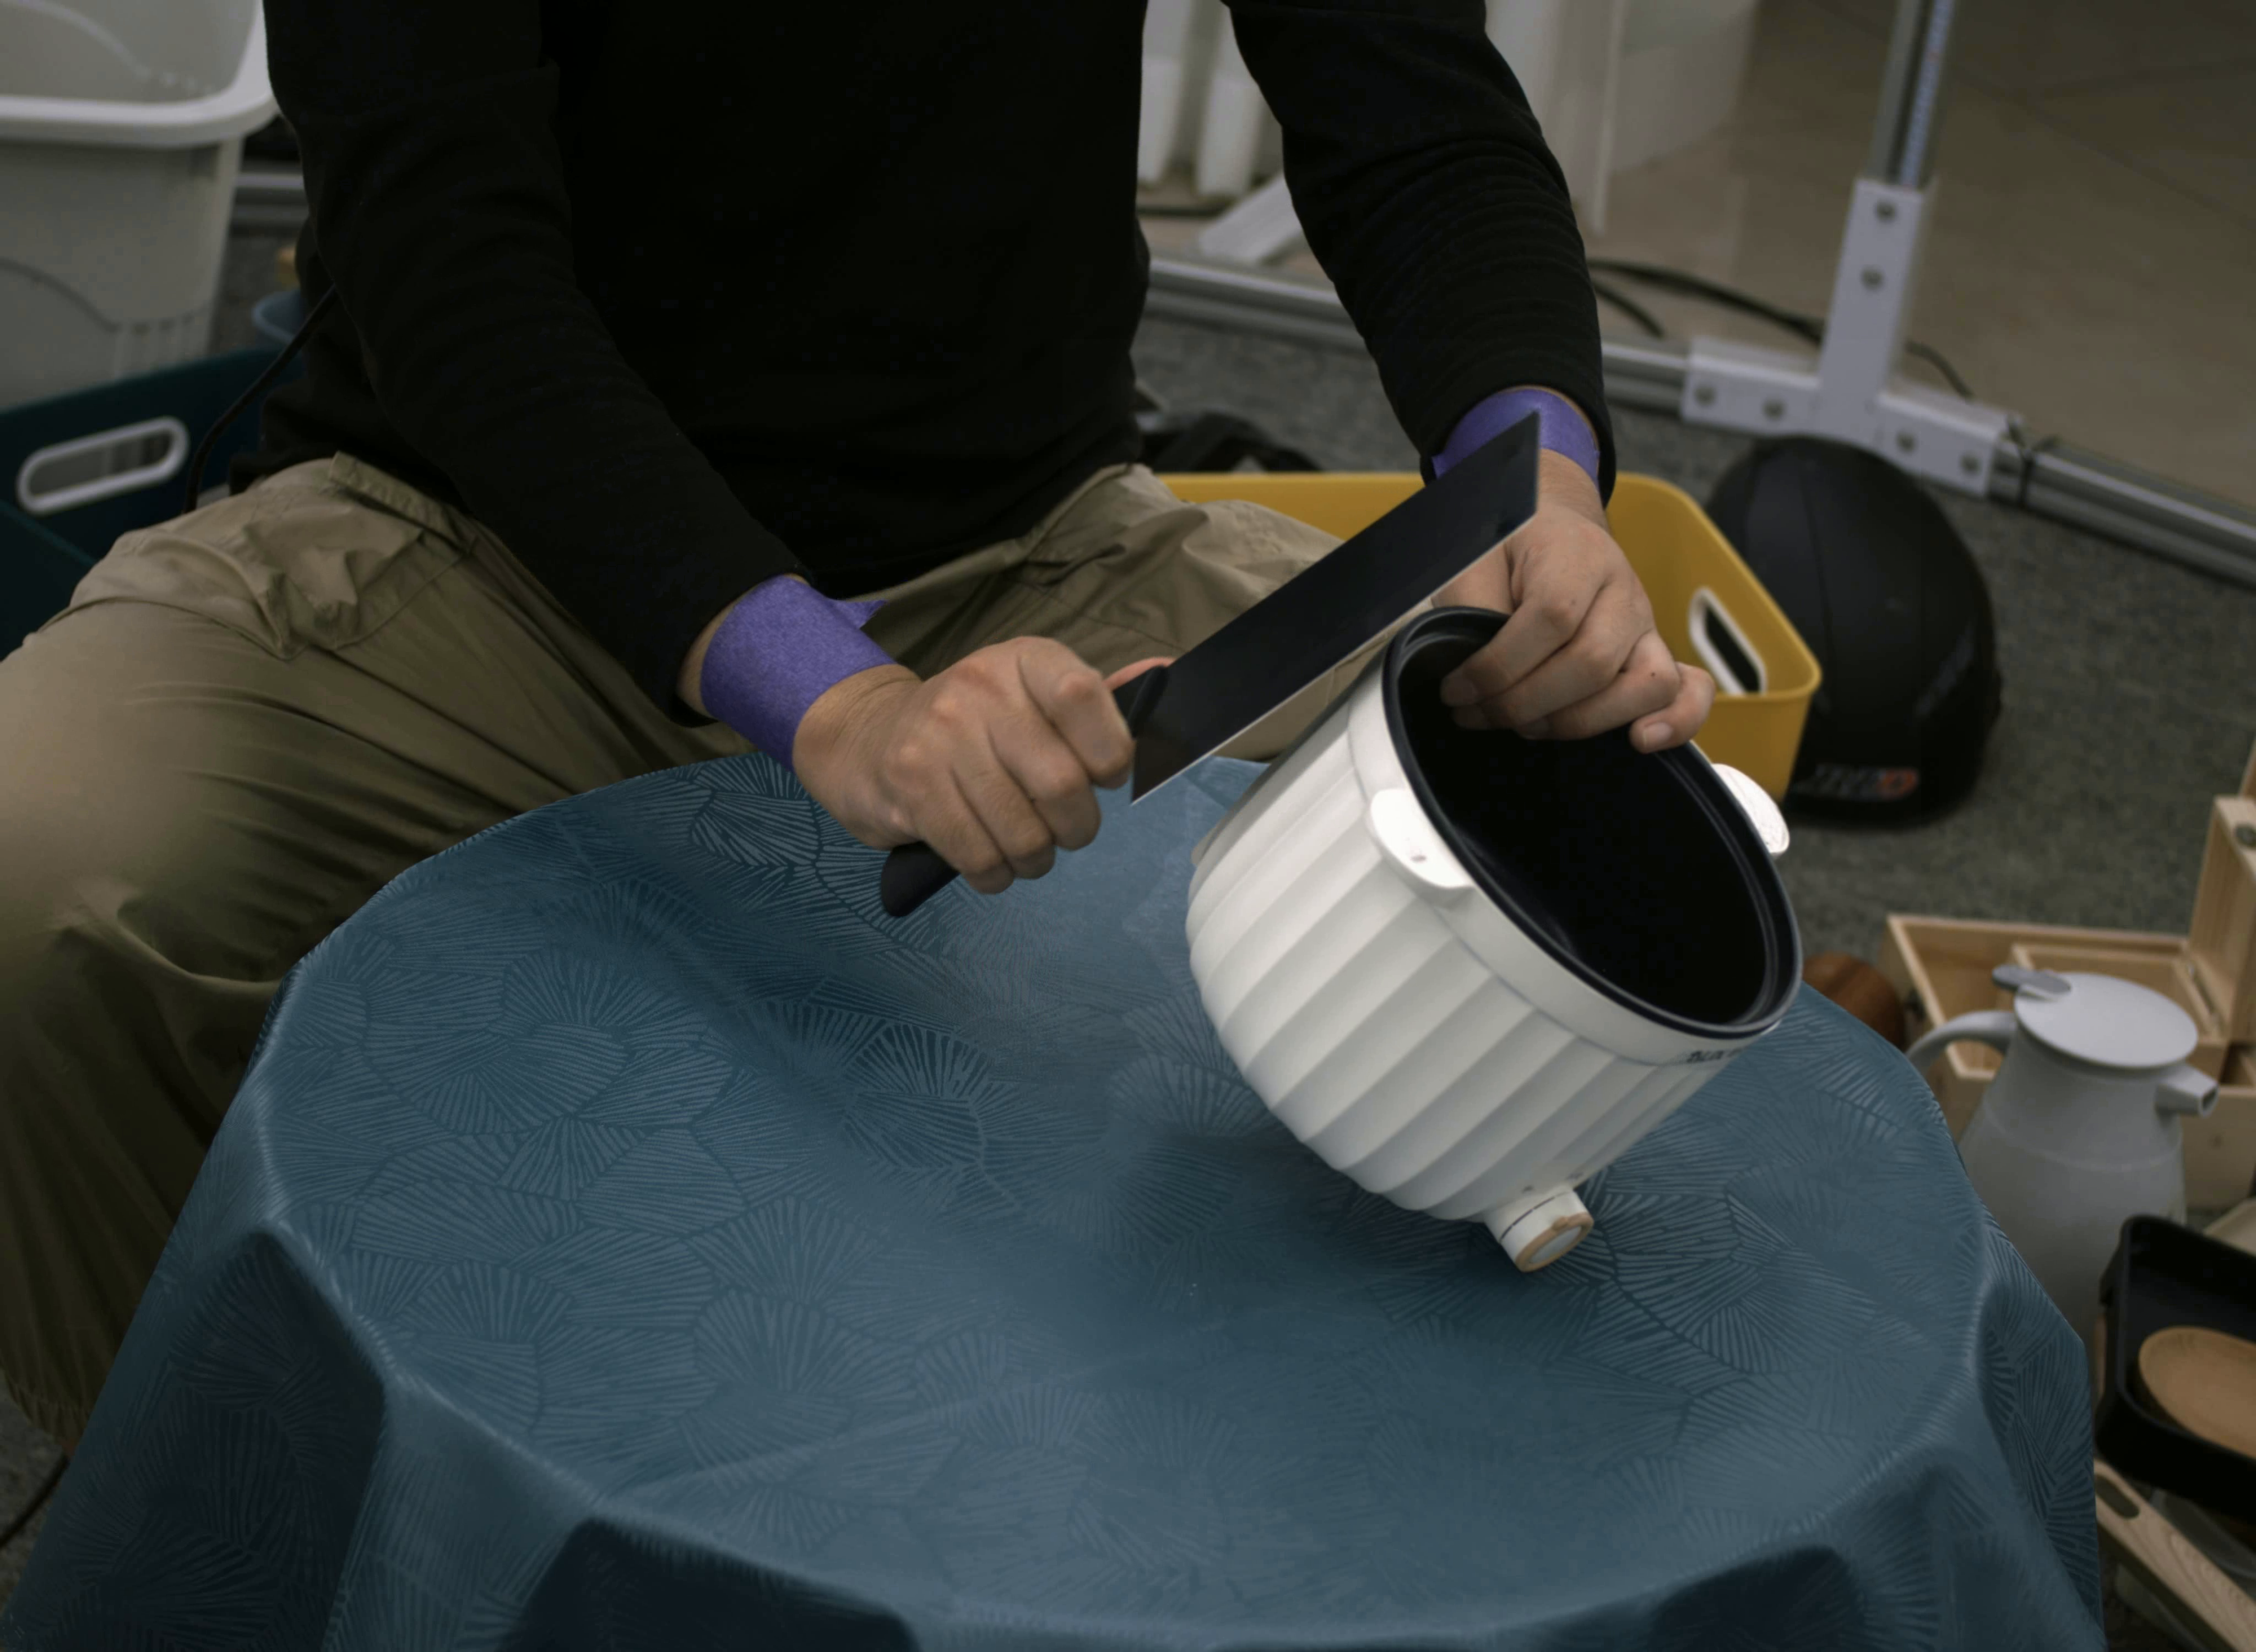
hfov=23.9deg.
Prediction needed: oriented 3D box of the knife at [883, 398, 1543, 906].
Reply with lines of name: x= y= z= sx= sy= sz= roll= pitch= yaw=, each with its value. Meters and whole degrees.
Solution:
knife: x=0.026 y=-0.050 z=1.798 sx=0.020 sy=0.302 sz=0.081 roll=41 pitch=36 yaw=-24

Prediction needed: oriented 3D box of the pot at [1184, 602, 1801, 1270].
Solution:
pot: x=0.118 y=0.041 z=1.793 sx=0.239 sy=0.142 sz=0.192 roll=-6 pitch=53 yaw=-52
